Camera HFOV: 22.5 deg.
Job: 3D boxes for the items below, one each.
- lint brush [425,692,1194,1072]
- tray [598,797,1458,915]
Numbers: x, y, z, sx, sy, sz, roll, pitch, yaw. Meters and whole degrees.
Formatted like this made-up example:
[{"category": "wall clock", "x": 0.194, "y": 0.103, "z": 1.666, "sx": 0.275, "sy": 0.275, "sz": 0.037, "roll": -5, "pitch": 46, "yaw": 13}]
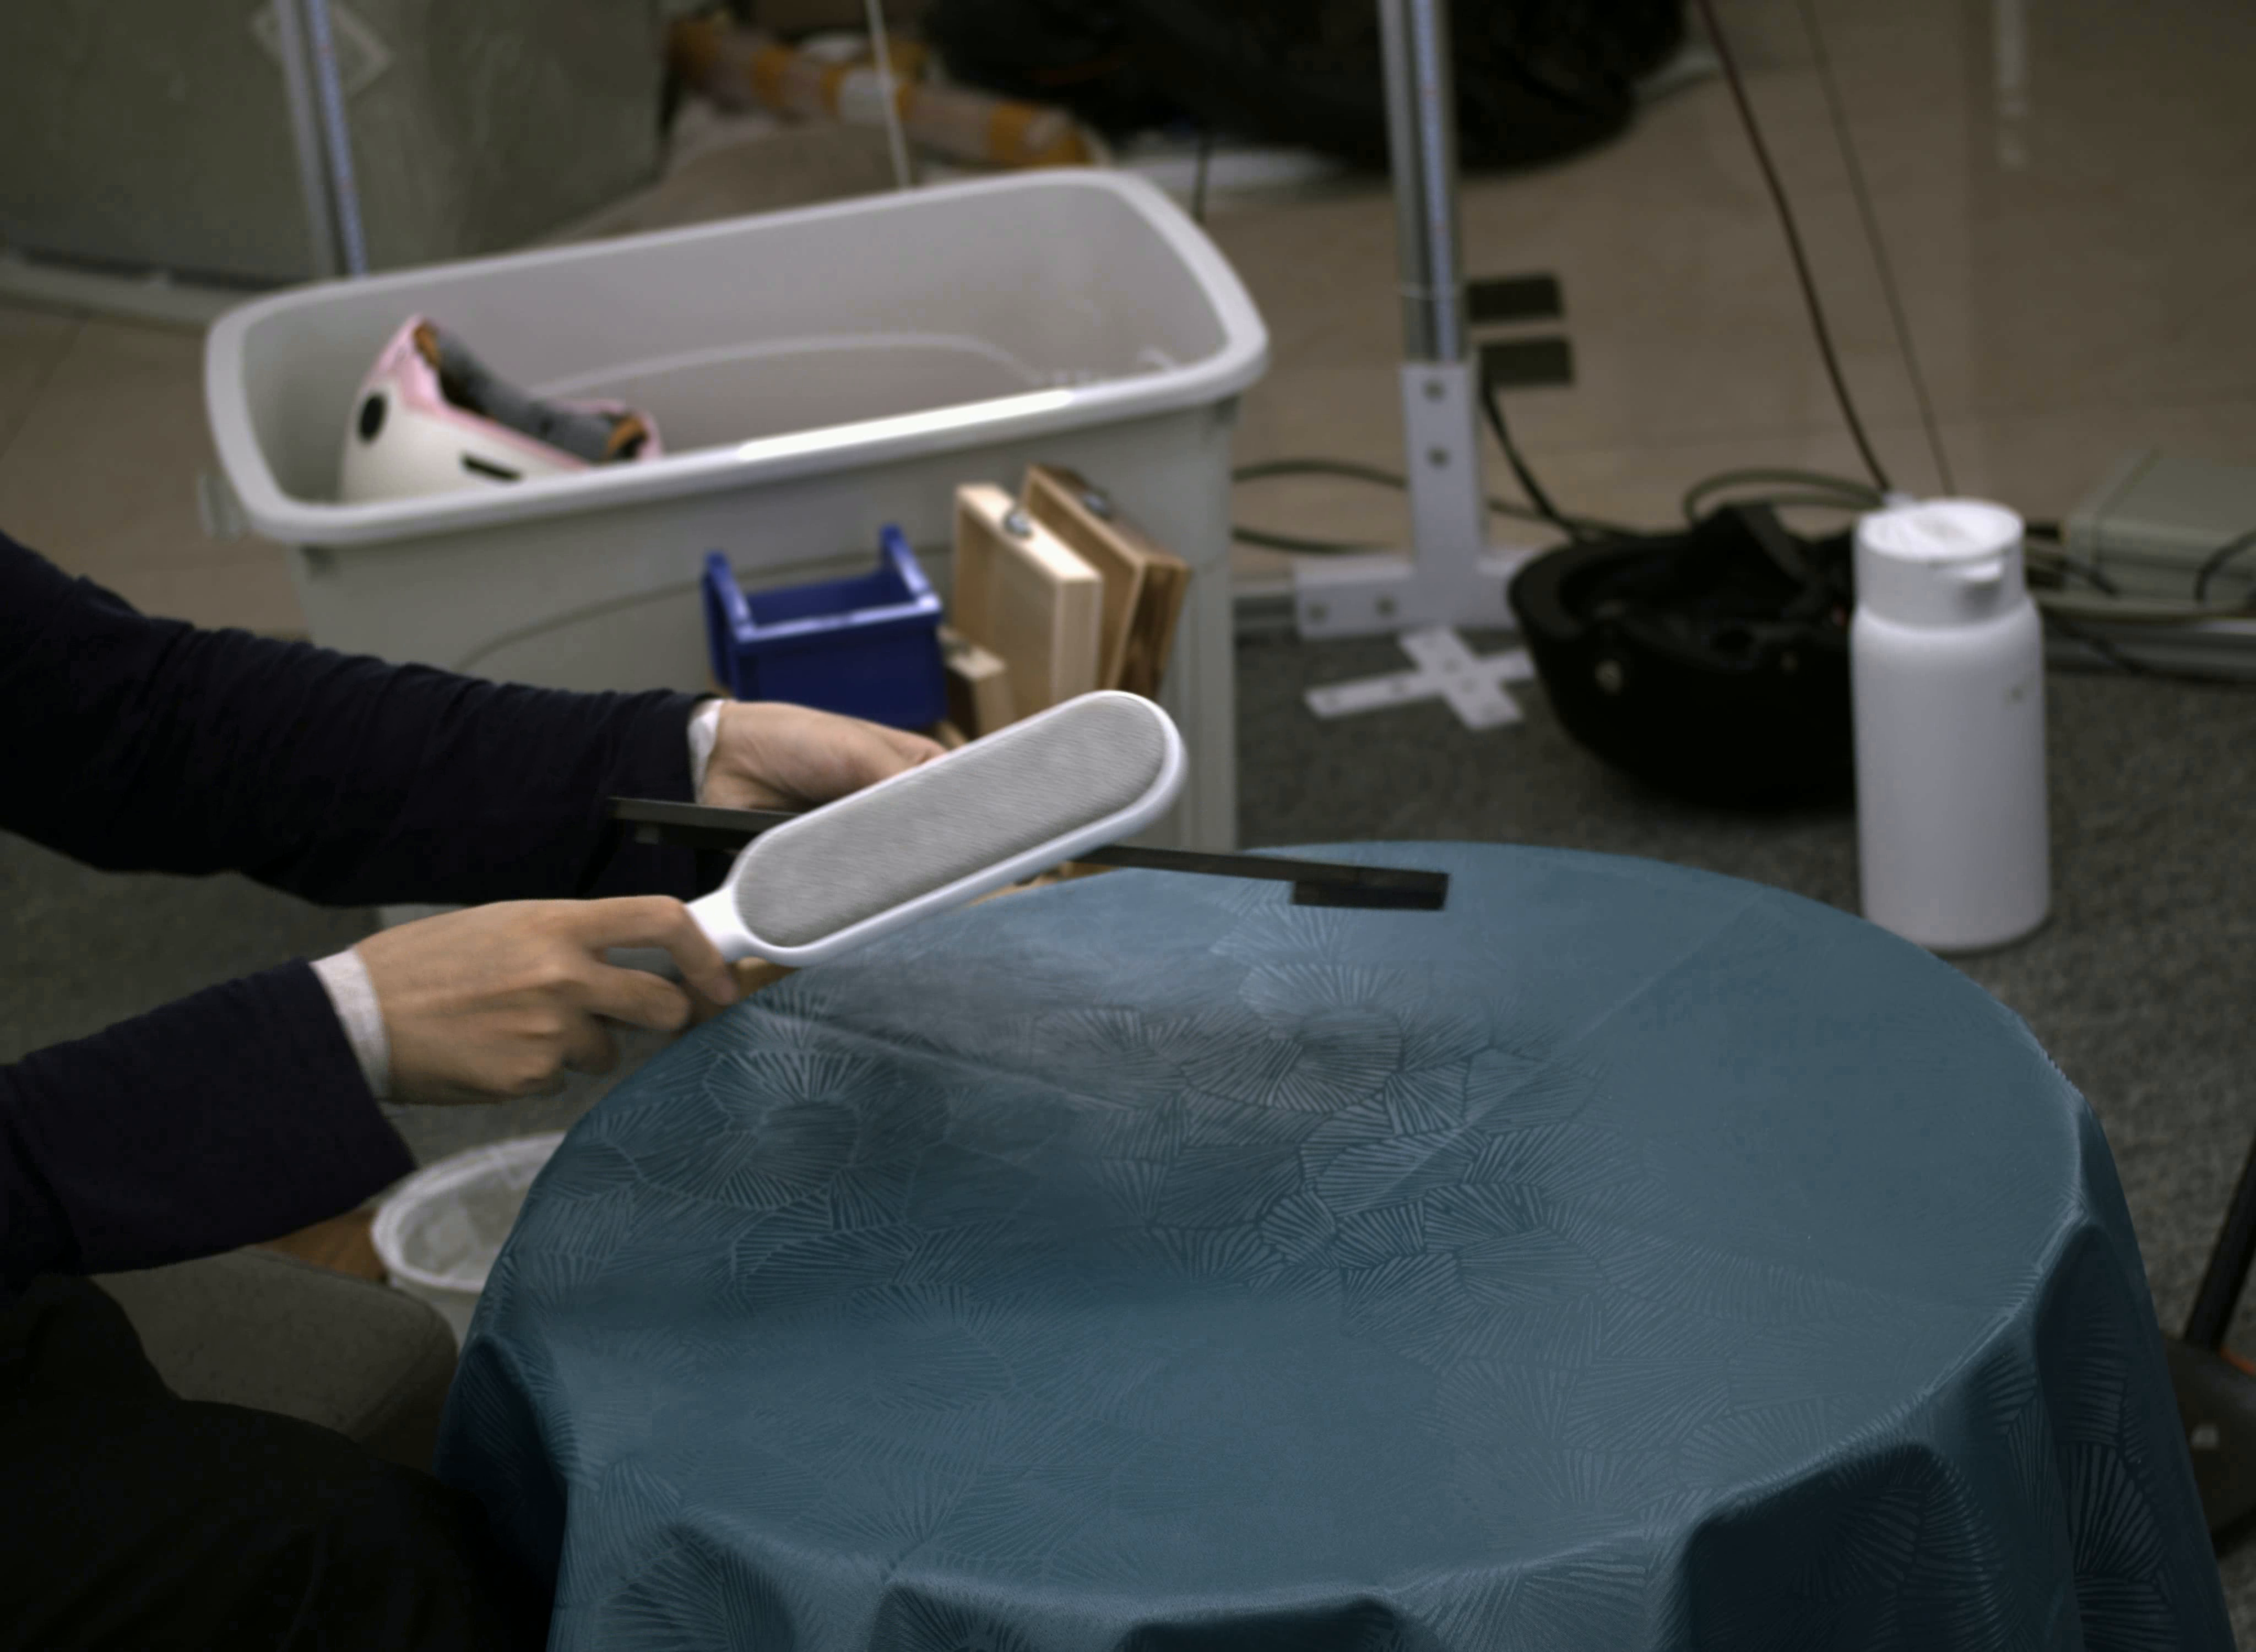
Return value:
[{"category": "lint brush", "x": -0.119, "y": 0.024, "z": 2.105, "sx": 0.309, "sy": 0.021, "sz": 0.059, "roll": -22, "pitch": 67, "yaw": 5}, {"category": "tray", "x": -0.038, "y": 0.012, "z": 2.197, "sx": 0.305, "sy": 0.018, "sz": 0.170, "roll": 5, "pitch": 0, "yaw": 19}]
